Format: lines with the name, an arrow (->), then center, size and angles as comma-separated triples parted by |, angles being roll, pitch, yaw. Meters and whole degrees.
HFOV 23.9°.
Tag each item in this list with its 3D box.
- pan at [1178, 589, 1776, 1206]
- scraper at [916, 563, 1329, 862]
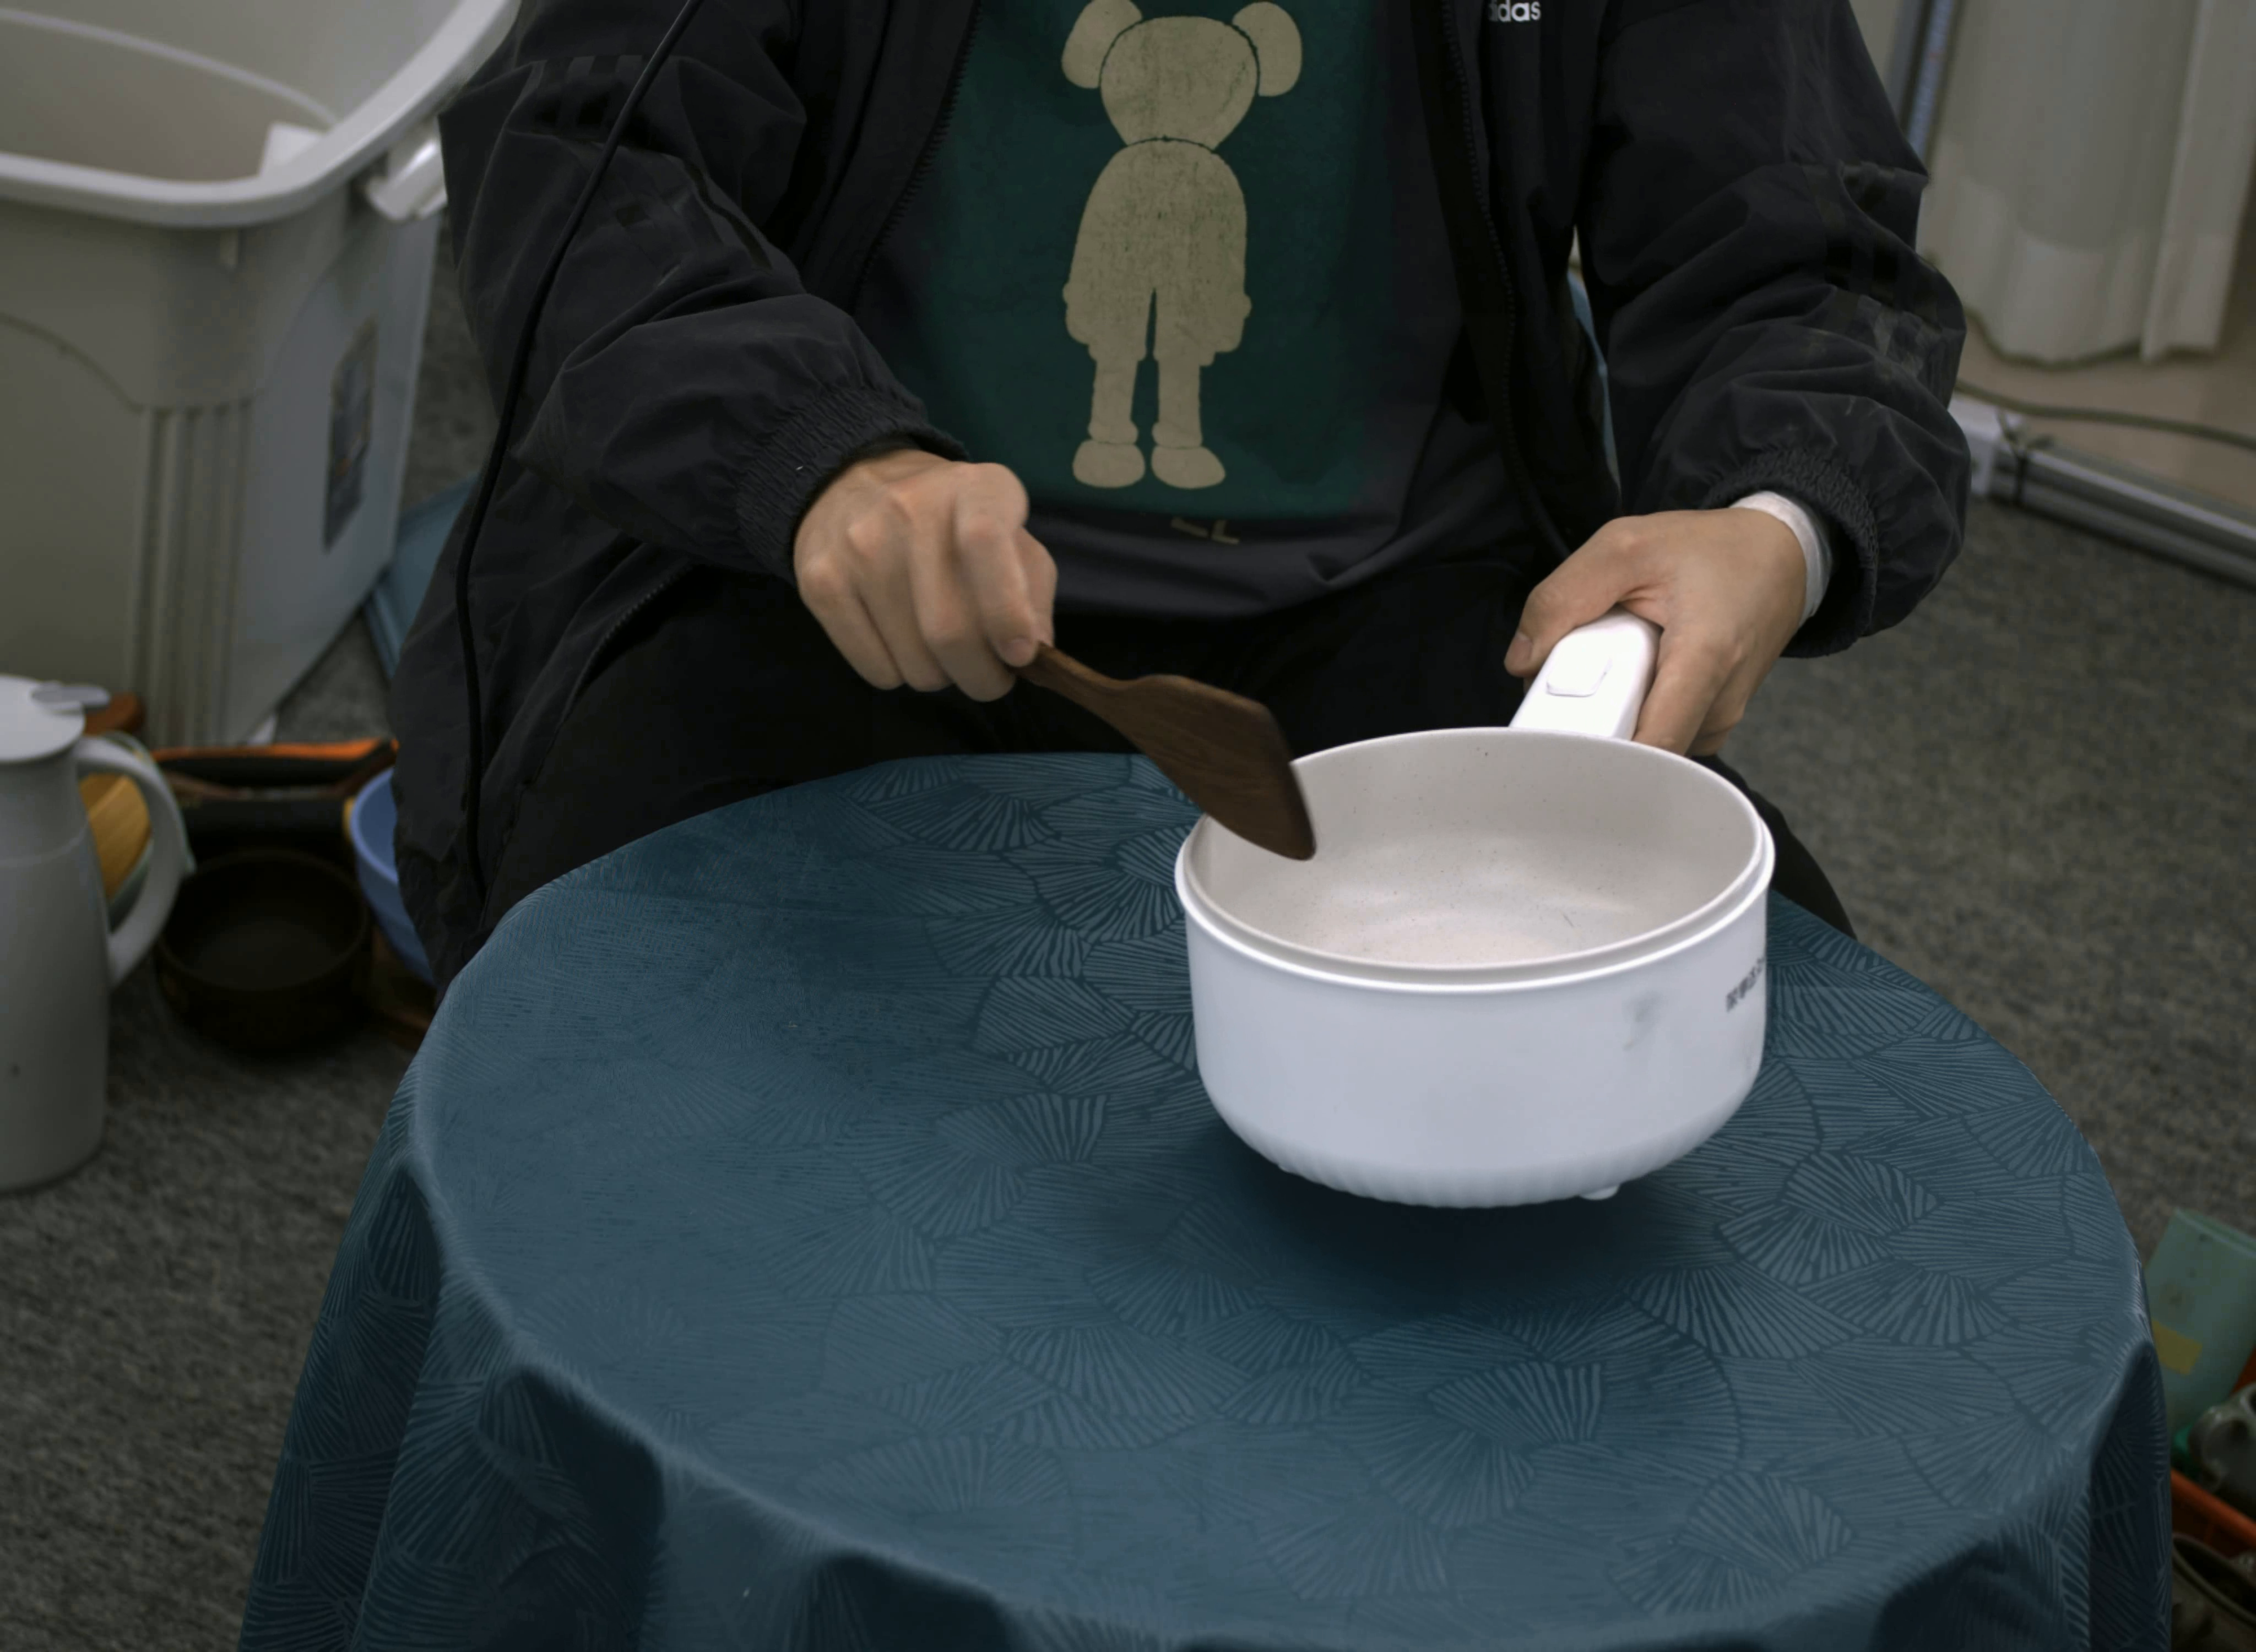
pan -> 0.143, 0.022, 1.868 | 0.201, 0.102, 0.355 | 3, 23, 18
scraper -> -0.007, -0.048, 1.837 | 0.011, 0.075, 0.213 | -38, 41, -20
